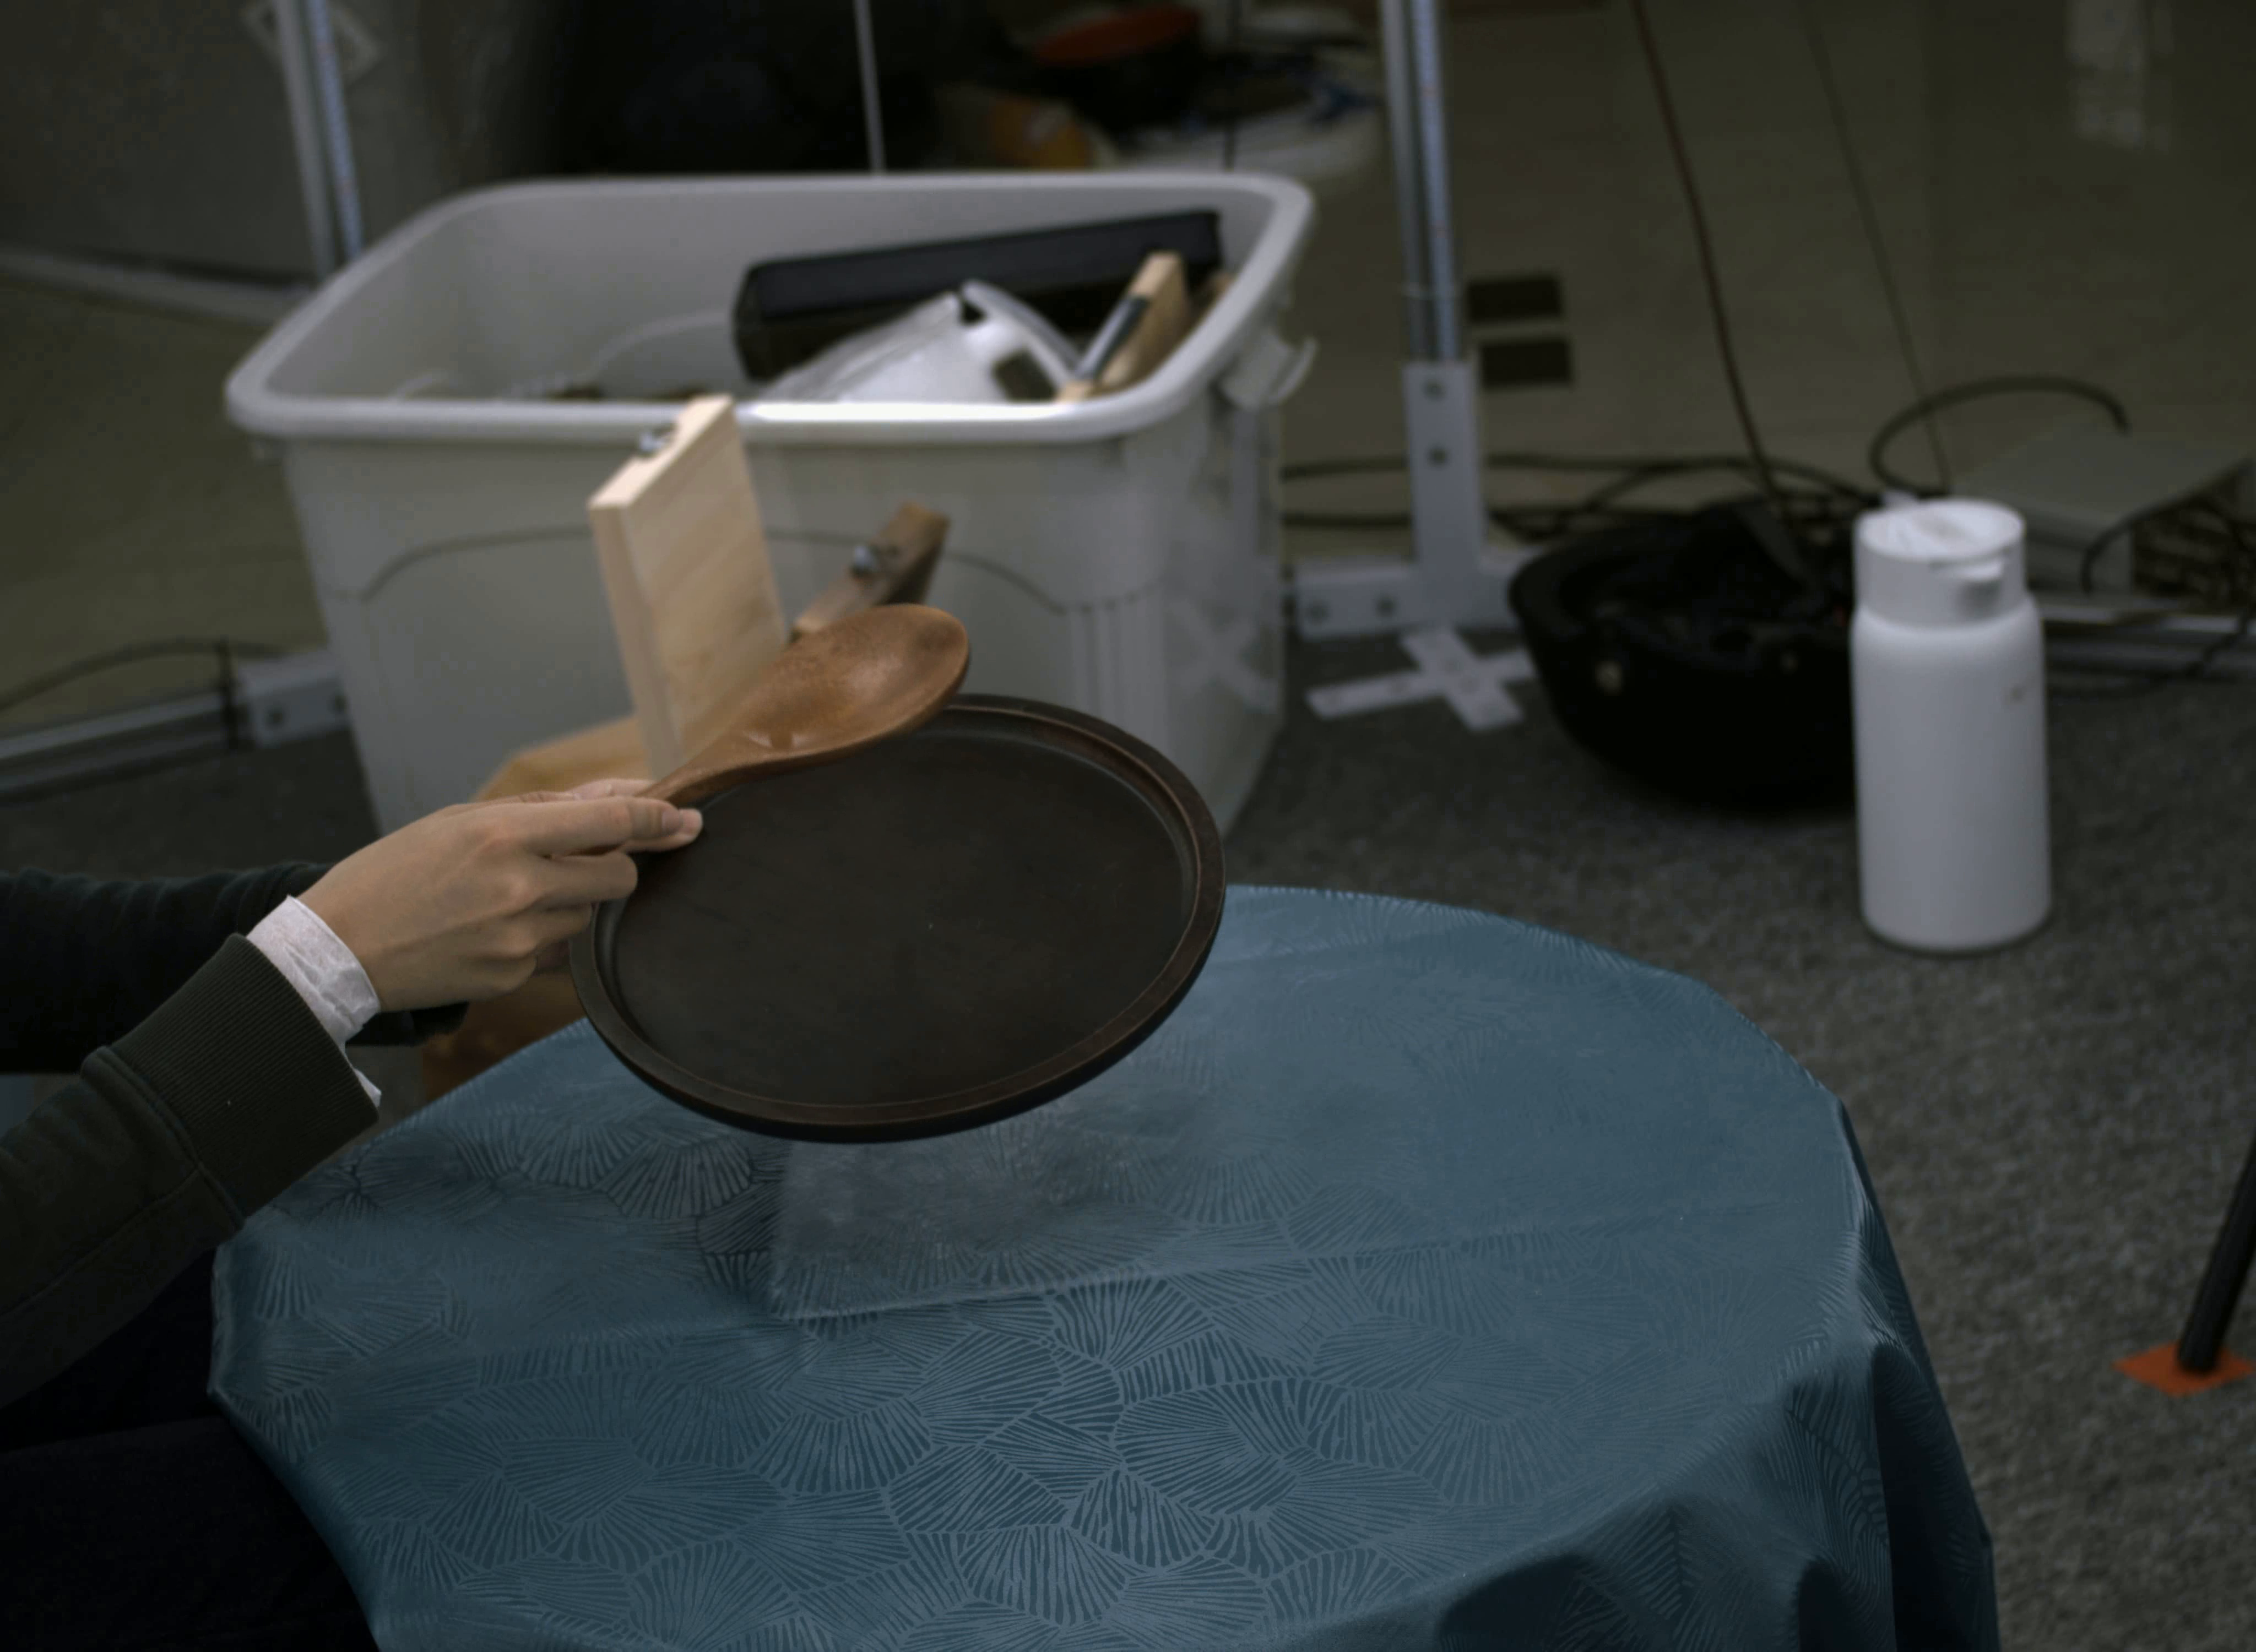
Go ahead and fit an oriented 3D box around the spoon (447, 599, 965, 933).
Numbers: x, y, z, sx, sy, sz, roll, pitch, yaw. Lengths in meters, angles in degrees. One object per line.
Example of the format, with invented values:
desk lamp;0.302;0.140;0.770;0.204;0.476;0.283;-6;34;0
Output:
spoon;-0.153;-0.020;2.055;0.215;0.017;0.074;-30;43;-14

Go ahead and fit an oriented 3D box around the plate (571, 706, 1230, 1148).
plate;-0.086;0.037;2.158;0.254;0.029;0.250;-4;39;4
